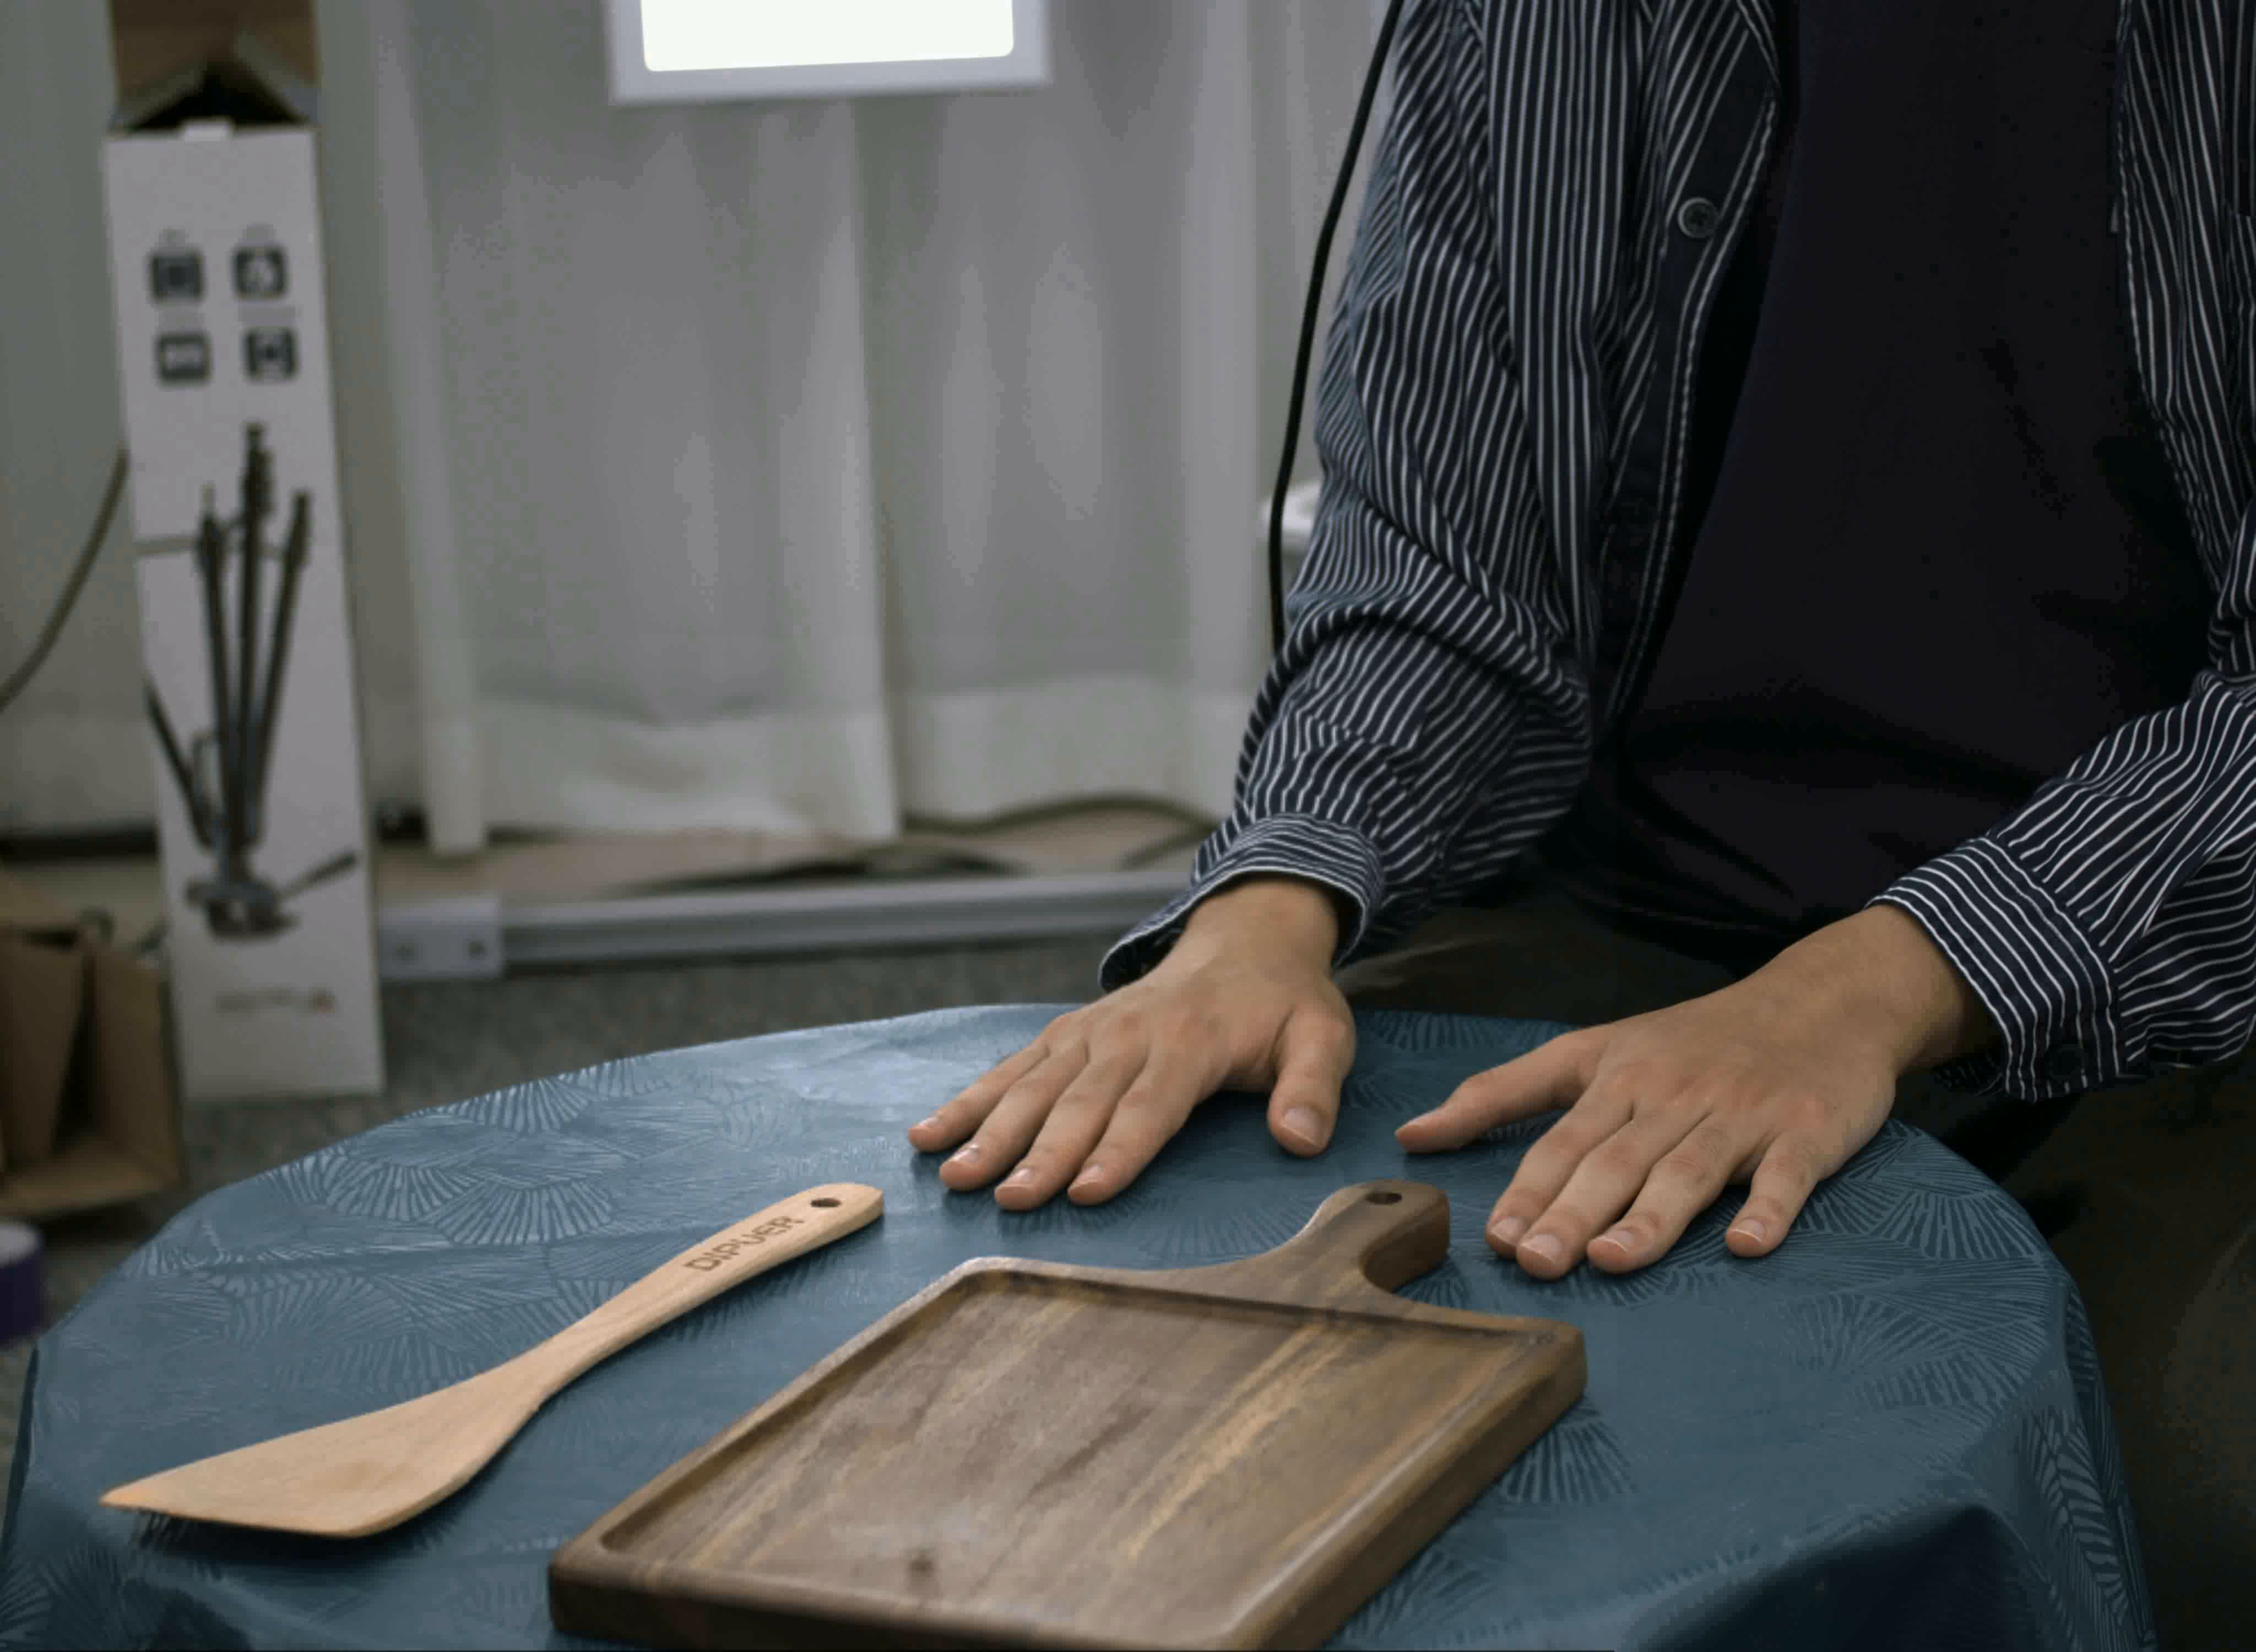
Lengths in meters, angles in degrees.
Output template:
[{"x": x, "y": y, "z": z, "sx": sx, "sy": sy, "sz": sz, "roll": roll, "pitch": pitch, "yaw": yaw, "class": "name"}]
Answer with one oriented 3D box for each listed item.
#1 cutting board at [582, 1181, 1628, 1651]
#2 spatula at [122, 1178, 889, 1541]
[{"x": 0.021, "y": 0.161, "z": 1.496, "sx": 0.201, "sy": 0.023, "sz": 0.353, "roll": 5, "pitch": 17, "yaw": 26, "class": "cutting board"}, {"x": -0.159, "y": 0.150, "z": 1.582, "sx": 0.080, "sy": 0.016, "sz": 0.328, "roll": 6, "pitch": 17, "yaw": 28, "class": "spatula"}]
